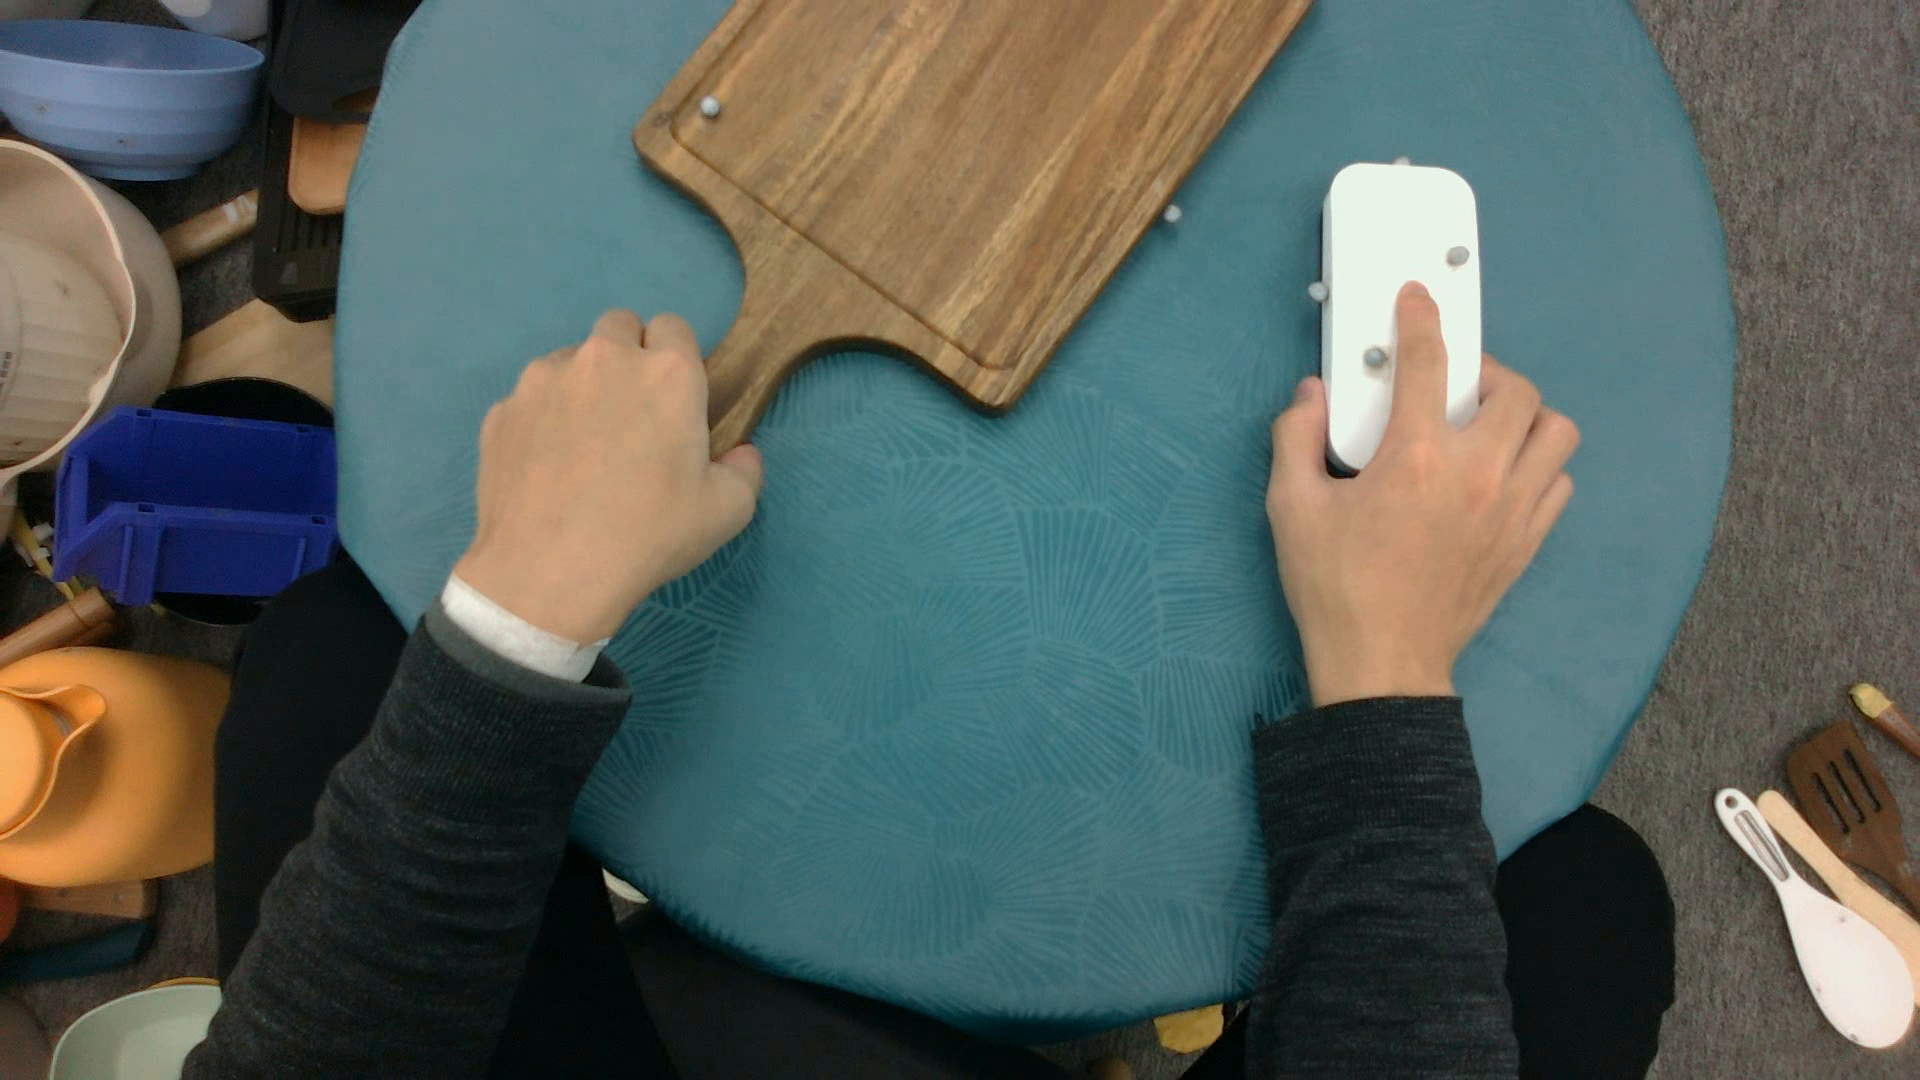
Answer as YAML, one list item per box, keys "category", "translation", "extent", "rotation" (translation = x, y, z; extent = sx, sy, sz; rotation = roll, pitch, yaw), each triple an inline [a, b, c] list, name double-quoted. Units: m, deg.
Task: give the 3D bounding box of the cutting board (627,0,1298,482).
- category: "cutting board"
  translation: [-0.020, -0.170, 0.588]
  extent: [0.201, 0.023, 0.353]
  rotation: [36, 81, 3]

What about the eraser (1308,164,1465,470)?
- category: "eraser"
  translation: [0.178, -0.094, 0.583]
  extent: [0.063, 0.034, 0.131]
  rotation: [4, 79, -5]
